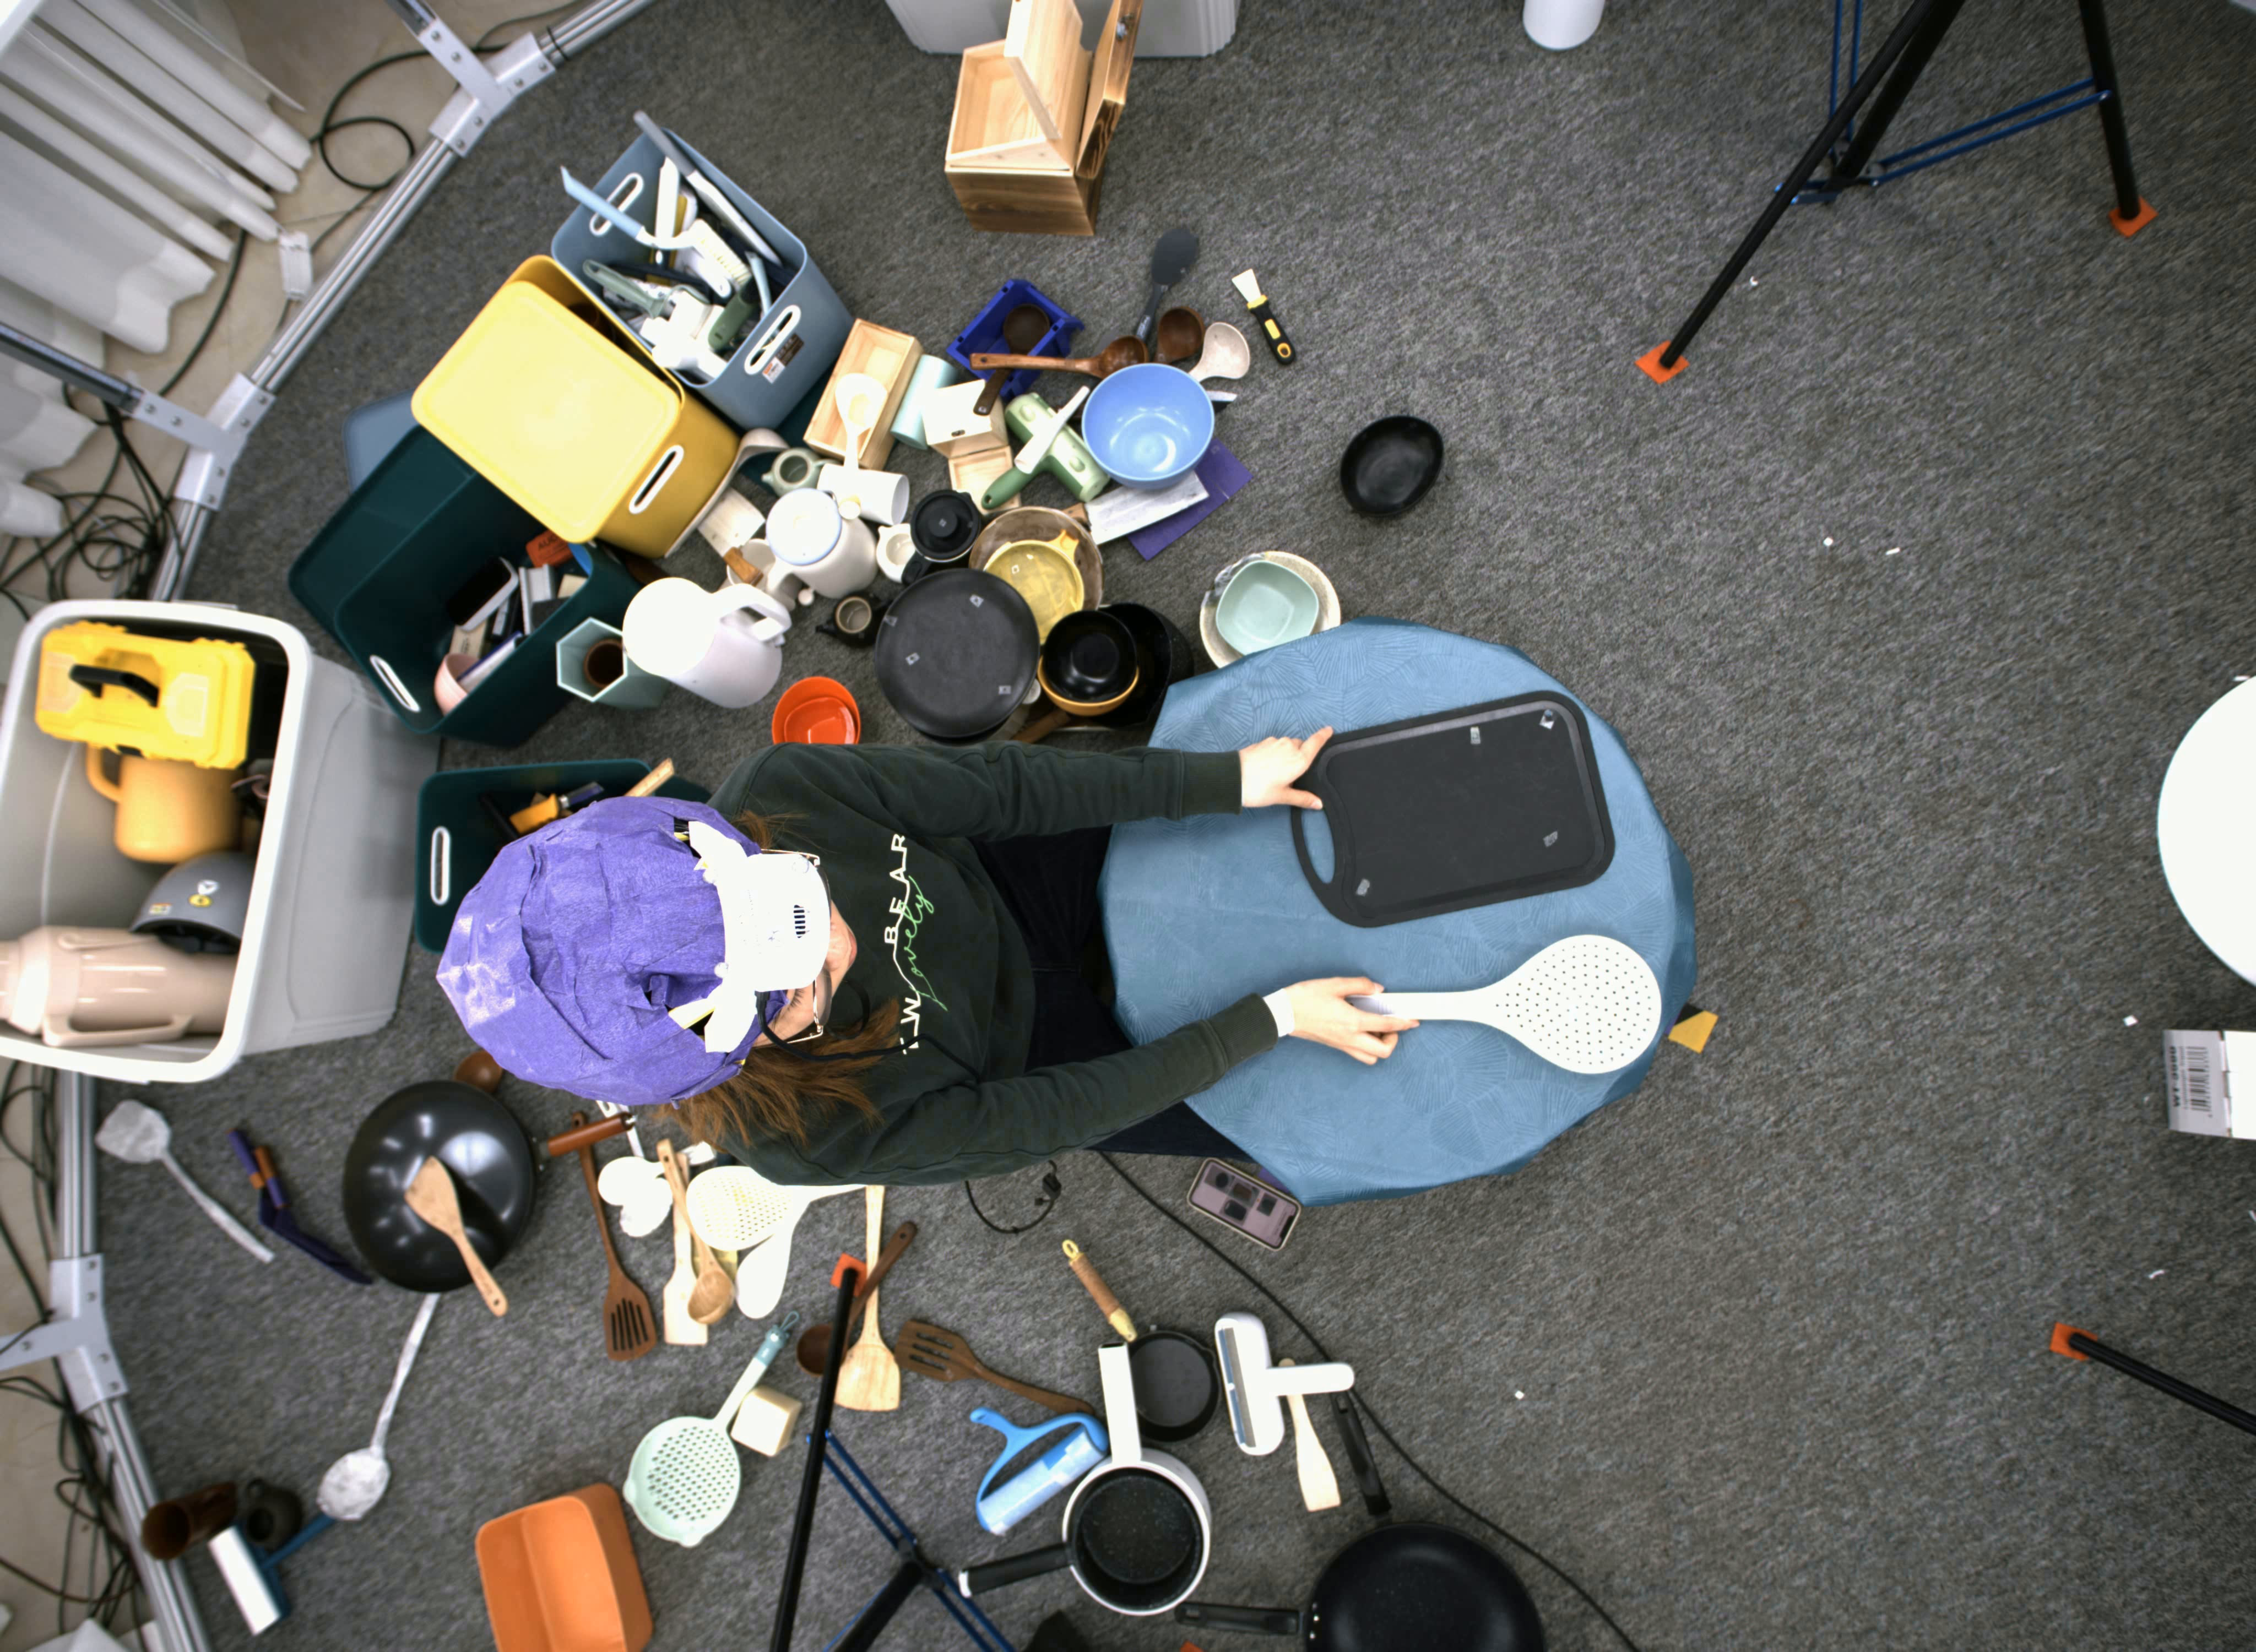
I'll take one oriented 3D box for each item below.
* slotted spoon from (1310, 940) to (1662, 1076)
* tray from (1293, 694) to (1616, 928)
[{"bbox_3d":[0.362,0.185,1.417,0.351,0.046,0.135,-2,83,11],"label":"slotted spoon"},{"bbox_3d":[0.338,-0.015,1.453,0.327,0.010,0.210,-12,85,9],"label":"tray"}]
